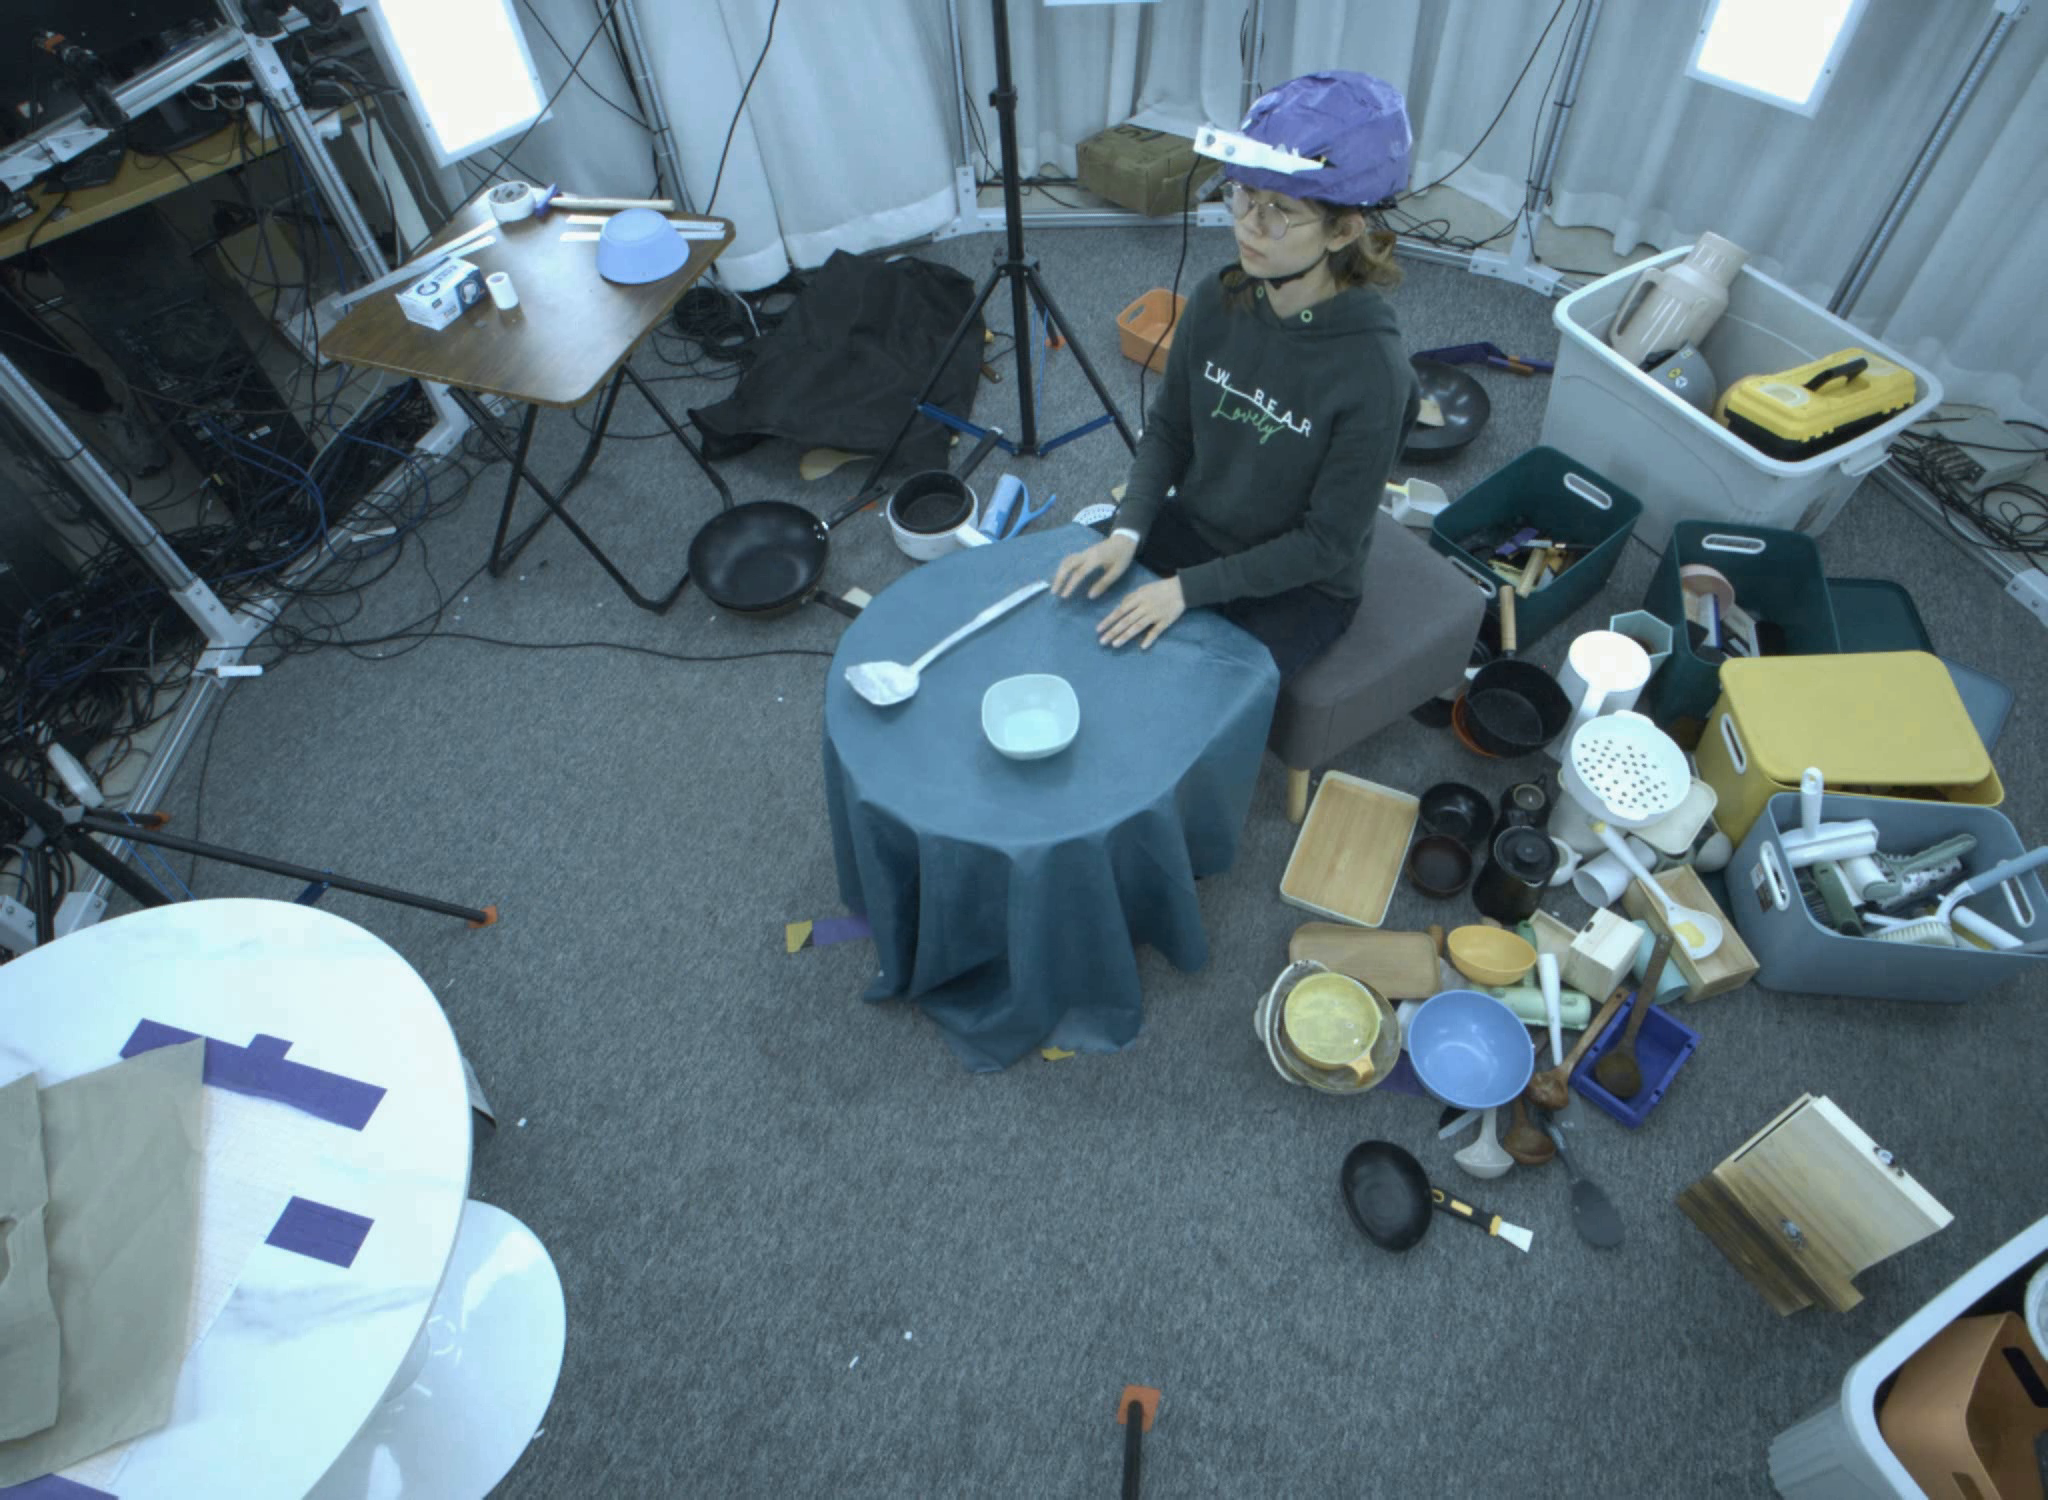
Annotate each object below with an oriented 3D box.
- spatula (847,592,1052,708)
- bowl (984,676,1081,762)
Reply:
[{"bbox_3d":[-0.105,-0.169,1.896,0.368,0.045,0.097,-35,59,-20],"label":"spatula"},{"bbox_3d":[0.014,-0.034,1.788,0.151,0.059,0.150,-1,57,2],"label":"bowl"}]
